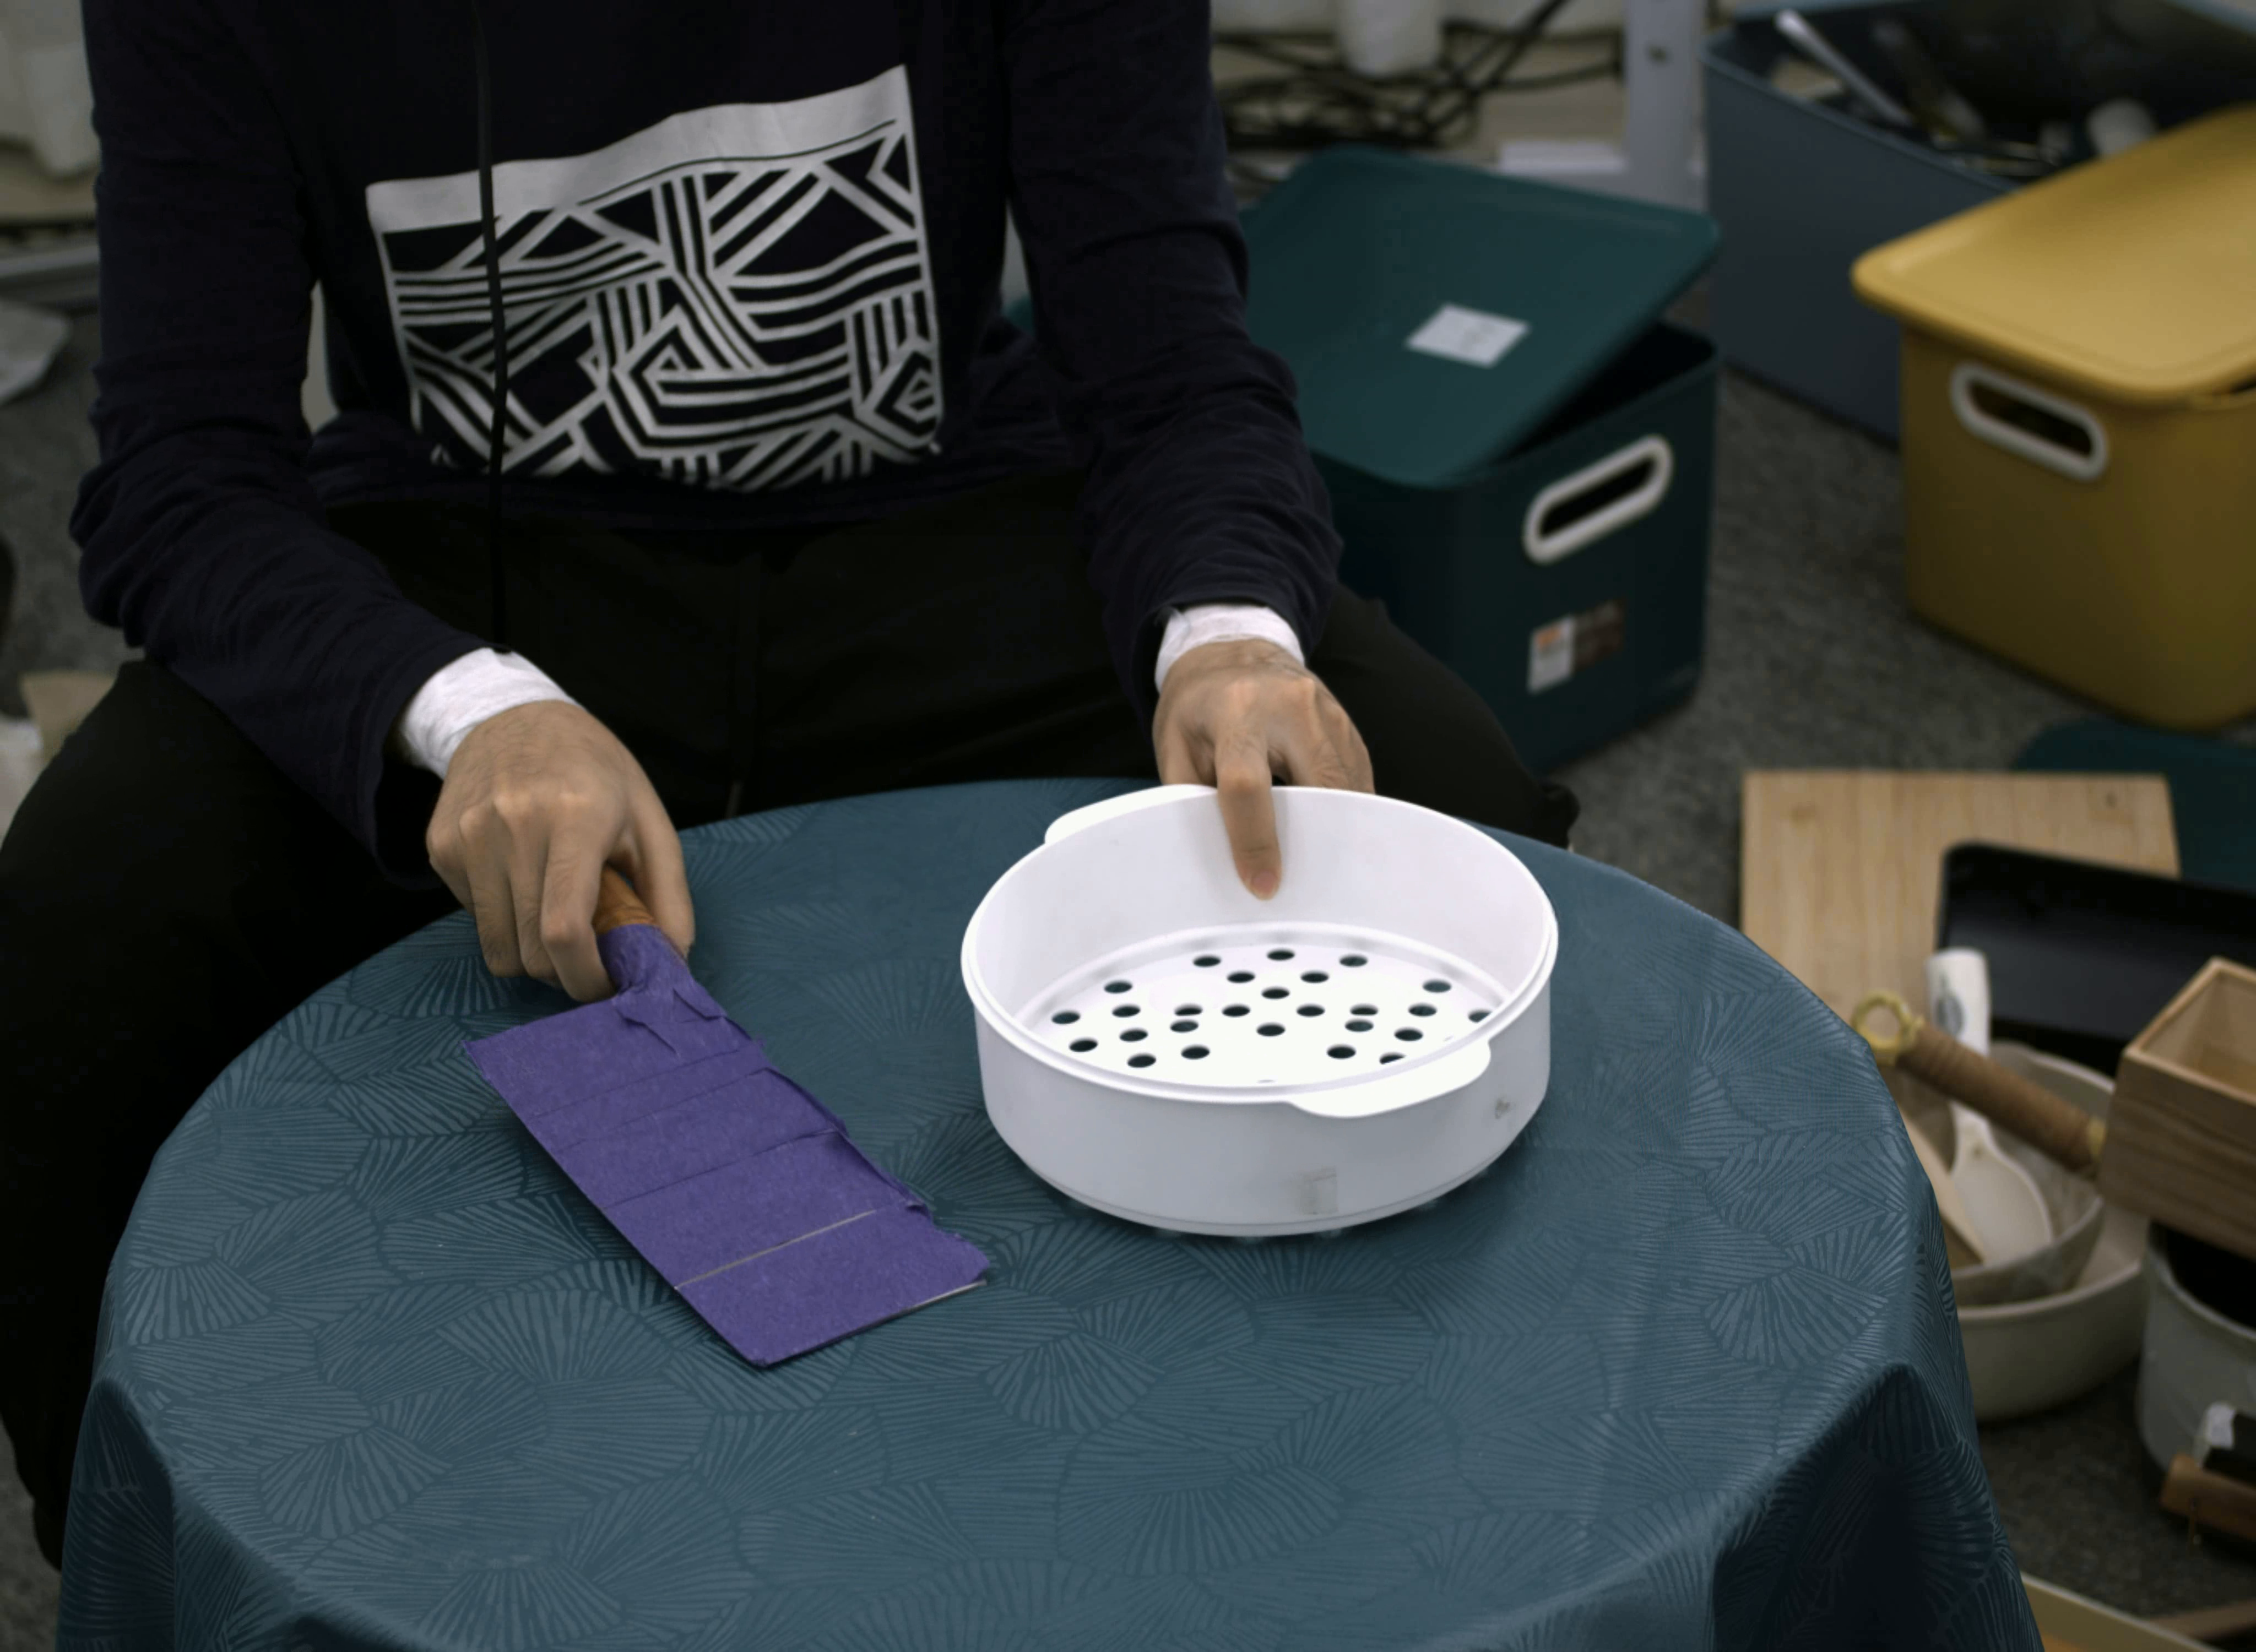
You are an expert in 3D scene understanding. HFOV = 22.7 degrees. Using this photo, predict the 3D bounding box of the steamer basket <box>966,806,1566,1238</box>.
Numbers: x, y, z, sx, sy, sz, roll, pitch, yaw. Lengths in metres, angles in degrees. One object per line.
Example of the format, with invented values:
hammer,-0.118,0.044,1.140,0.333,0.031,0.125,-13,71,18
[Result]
steamer basket,0.048,0.066,1.890,0.203,0.068,0.232,-14,28,-21

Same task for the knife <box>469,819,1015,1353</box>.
knife,-0.163,0.084,1.901,0.104,0.032,0.316,-17,34,-29
